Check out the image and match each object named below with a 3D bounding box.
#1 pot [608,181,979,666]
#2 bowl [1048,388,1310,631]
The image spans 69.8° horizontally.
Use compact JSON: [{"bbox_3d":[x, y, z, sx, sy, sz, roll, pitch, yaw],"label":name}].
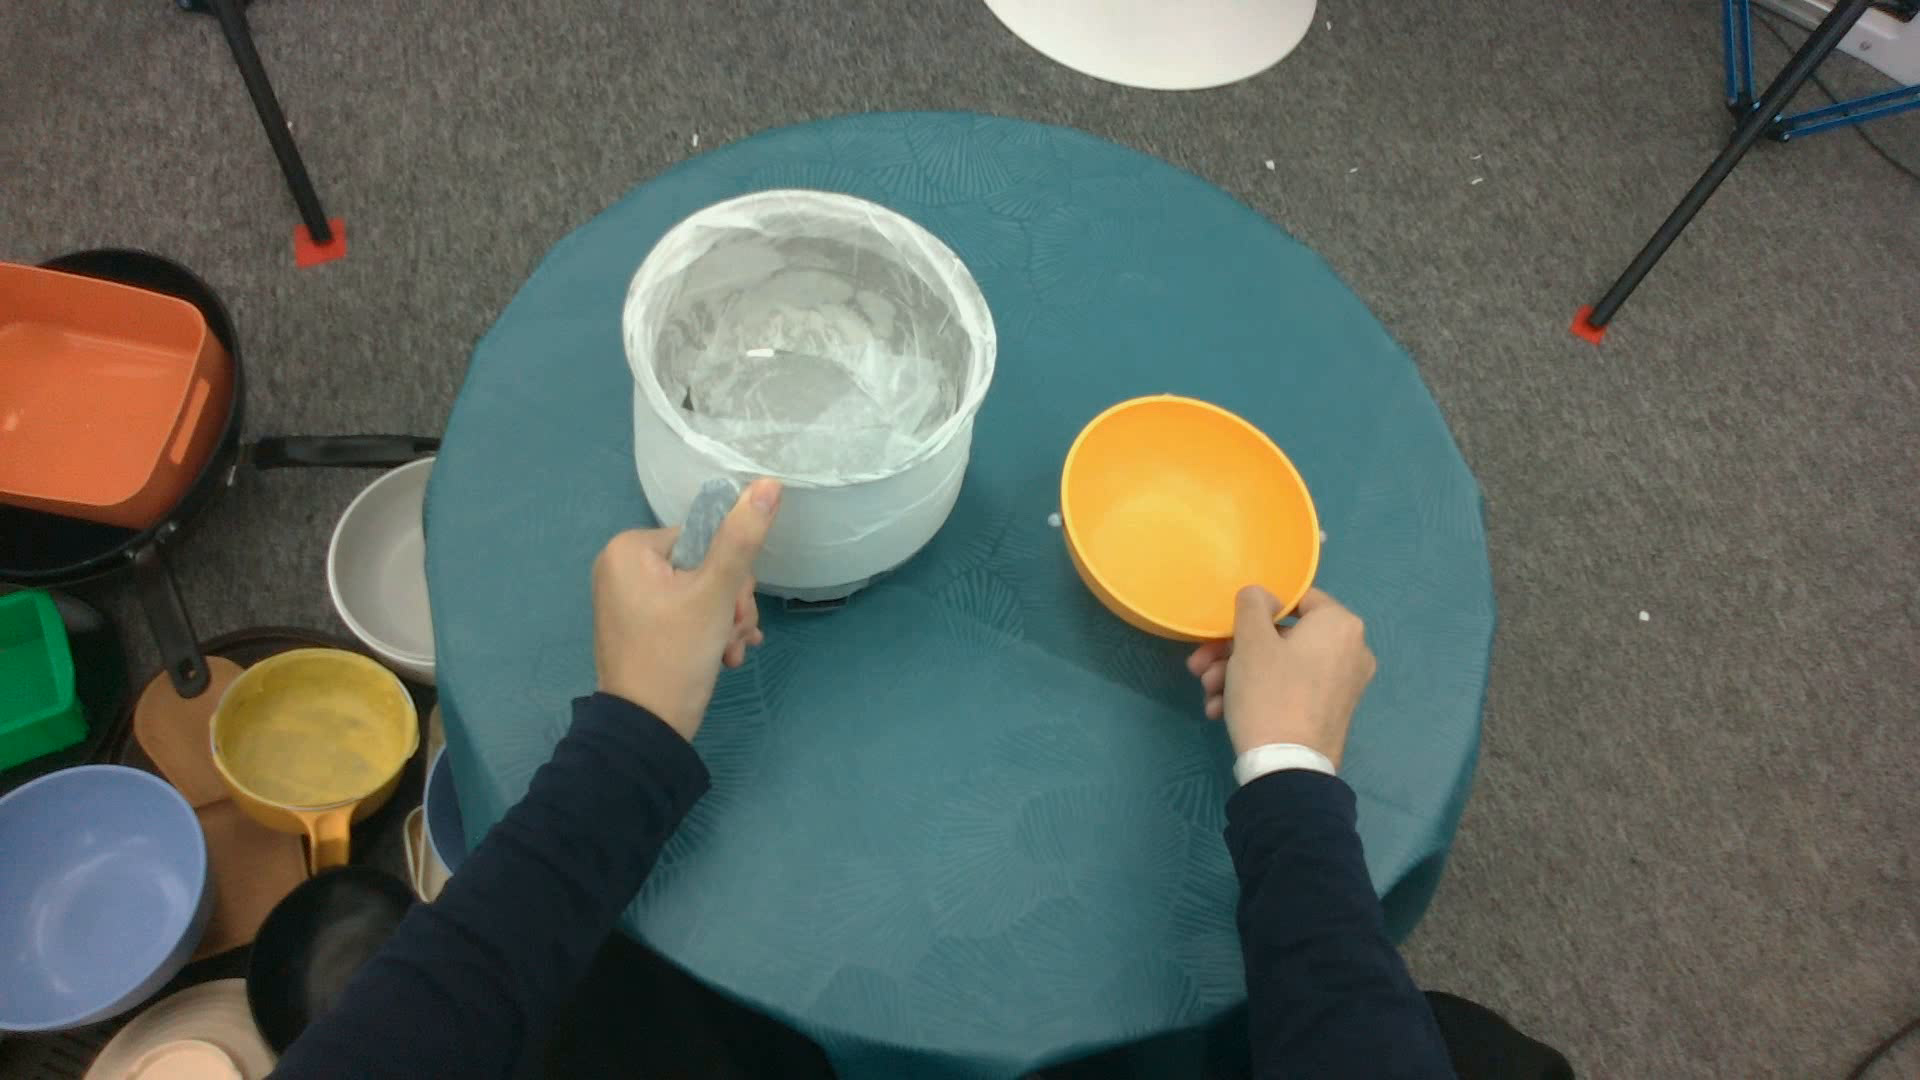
[{"bbox_3d":[-0.094,-0.053,0.698,0.178,0.136,0.235,19,58,5],"label":"pot"},{"bbox_3d":[0.110,-0.007,0.746,0.145,0.060,0.146,6,60,-11],"label":"bowl"}]
